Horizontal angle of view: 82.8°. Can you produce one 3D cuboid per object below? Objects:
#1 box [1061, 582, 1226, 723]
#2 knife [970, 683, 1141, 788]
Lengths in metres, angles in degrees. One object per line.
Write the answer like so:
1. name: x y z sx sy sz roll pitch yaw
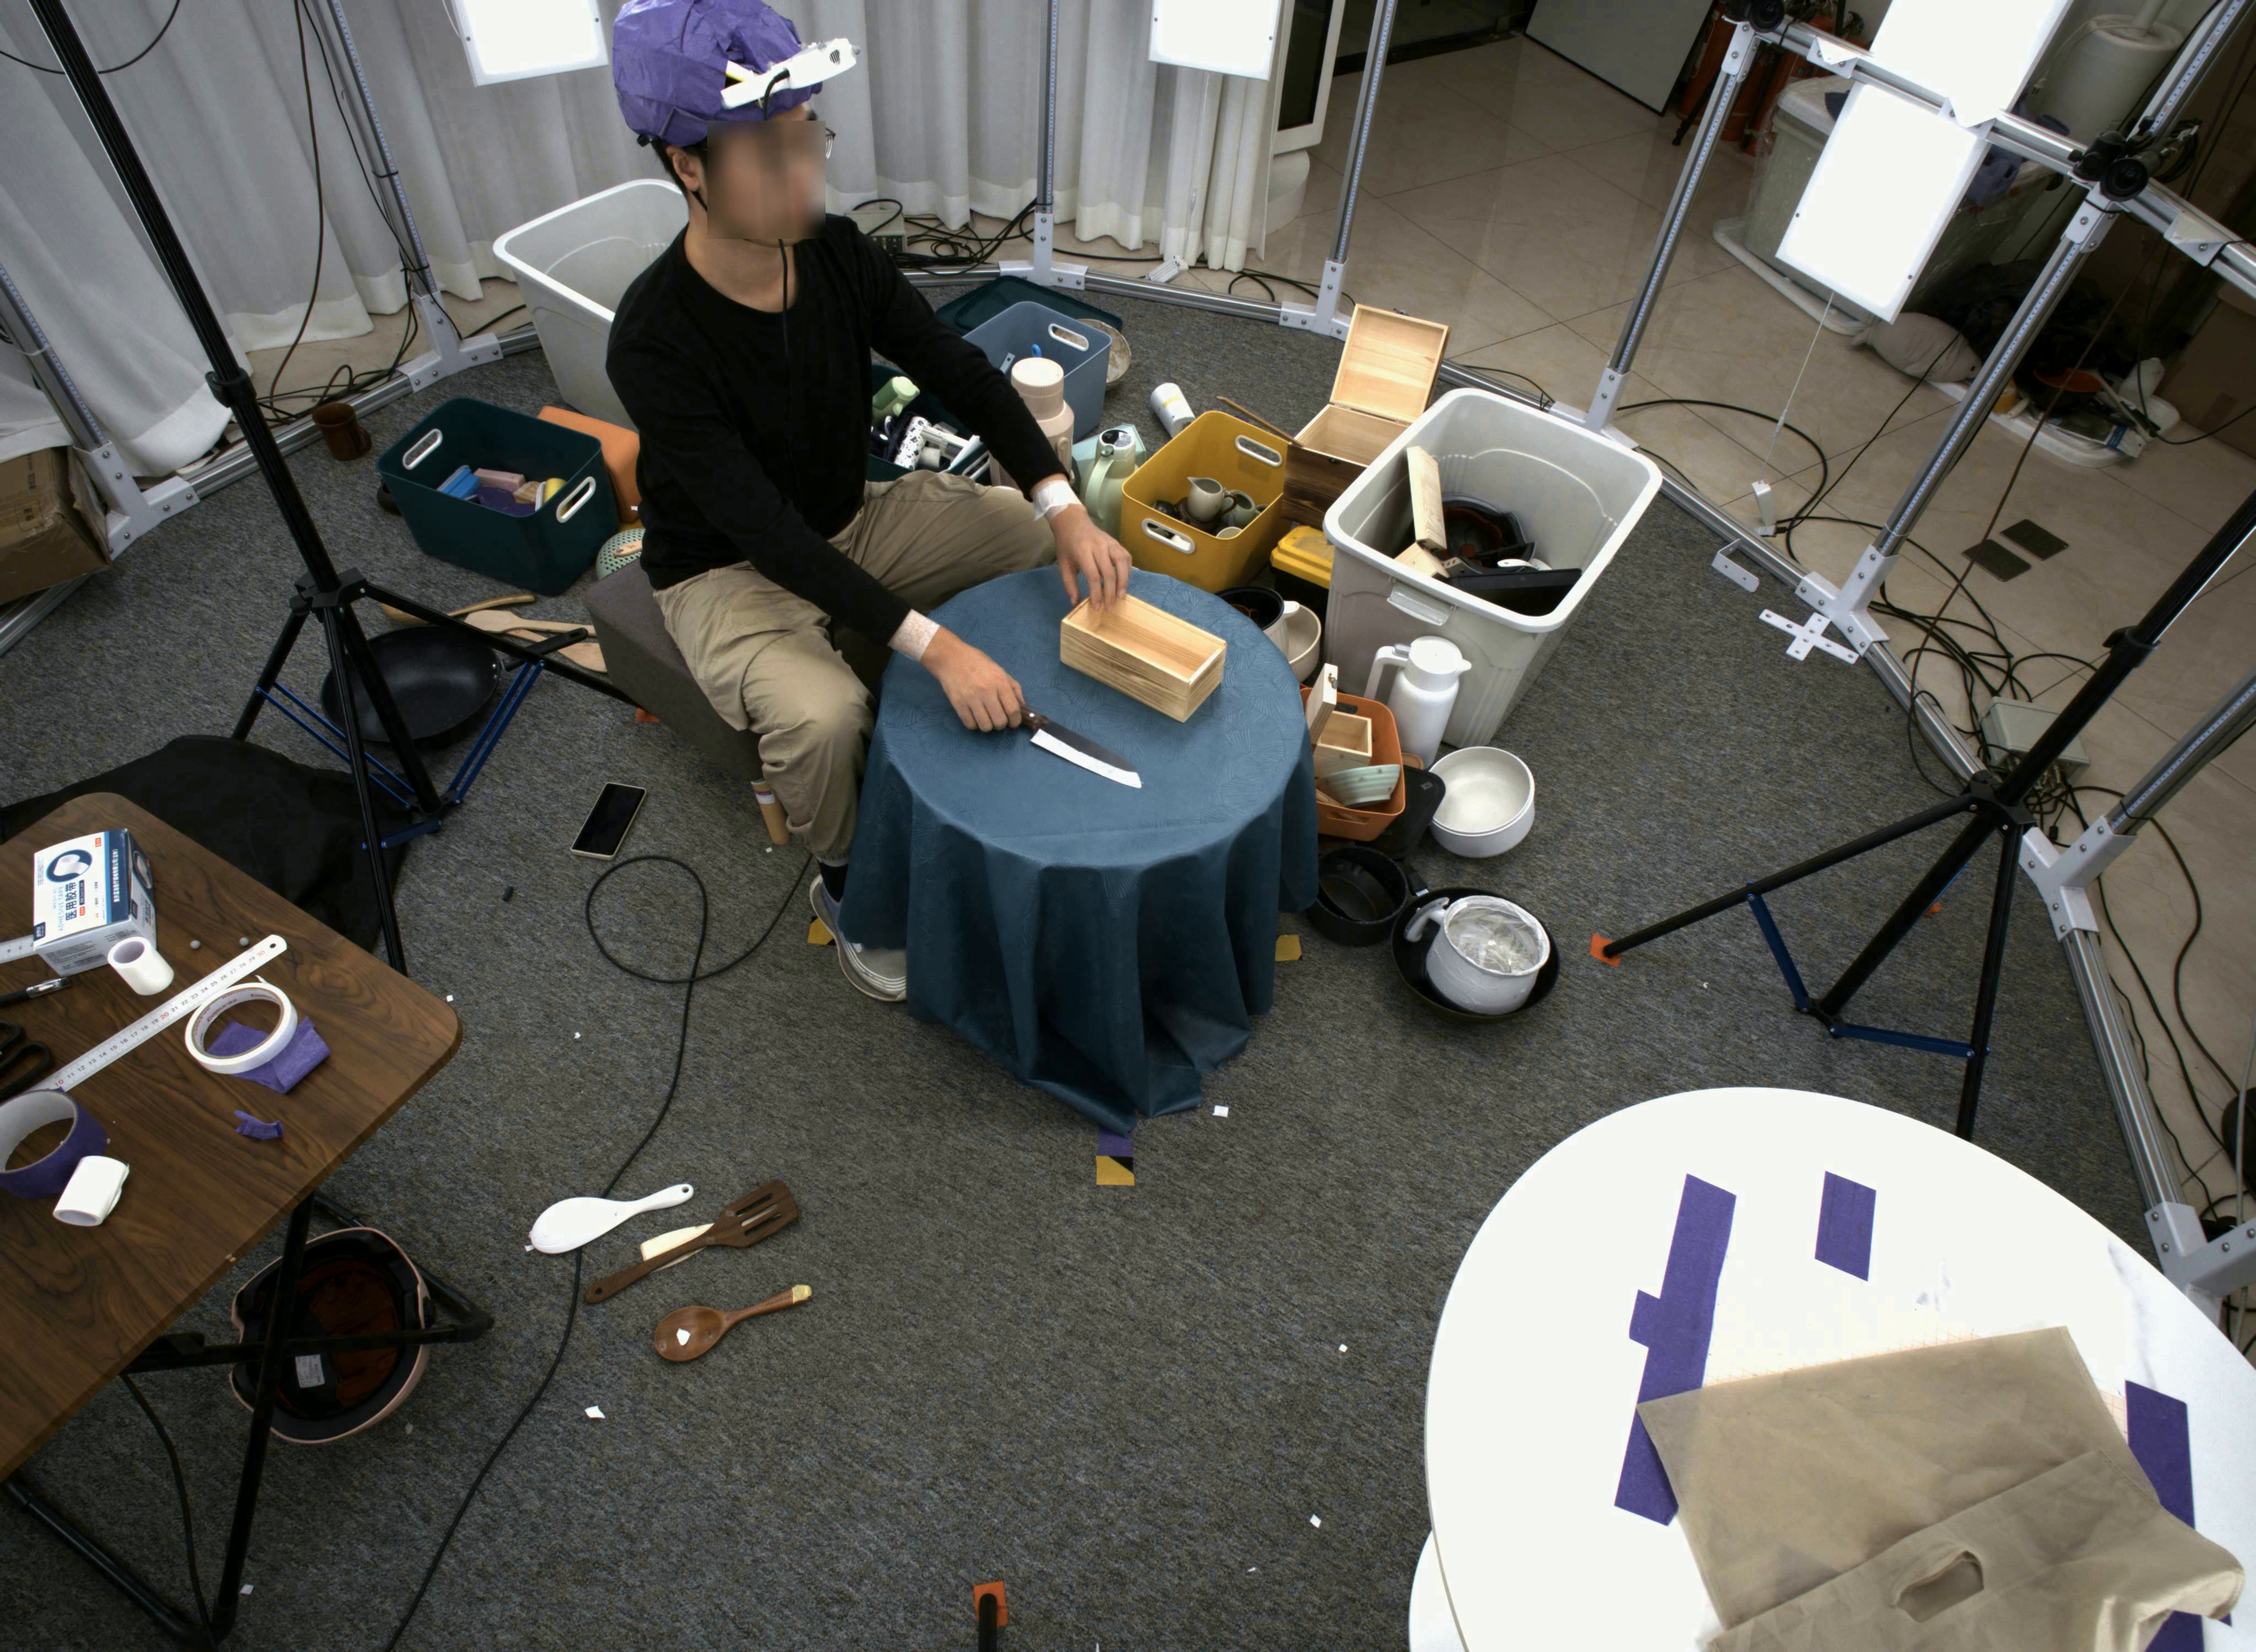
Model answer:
1. box: 0.020 -0.250 1.837 0.213 0.078 0.109 29 53 19
2. knife: -0.101 -0.124 1.762 0.292 0.019 0.051 30 61 18
